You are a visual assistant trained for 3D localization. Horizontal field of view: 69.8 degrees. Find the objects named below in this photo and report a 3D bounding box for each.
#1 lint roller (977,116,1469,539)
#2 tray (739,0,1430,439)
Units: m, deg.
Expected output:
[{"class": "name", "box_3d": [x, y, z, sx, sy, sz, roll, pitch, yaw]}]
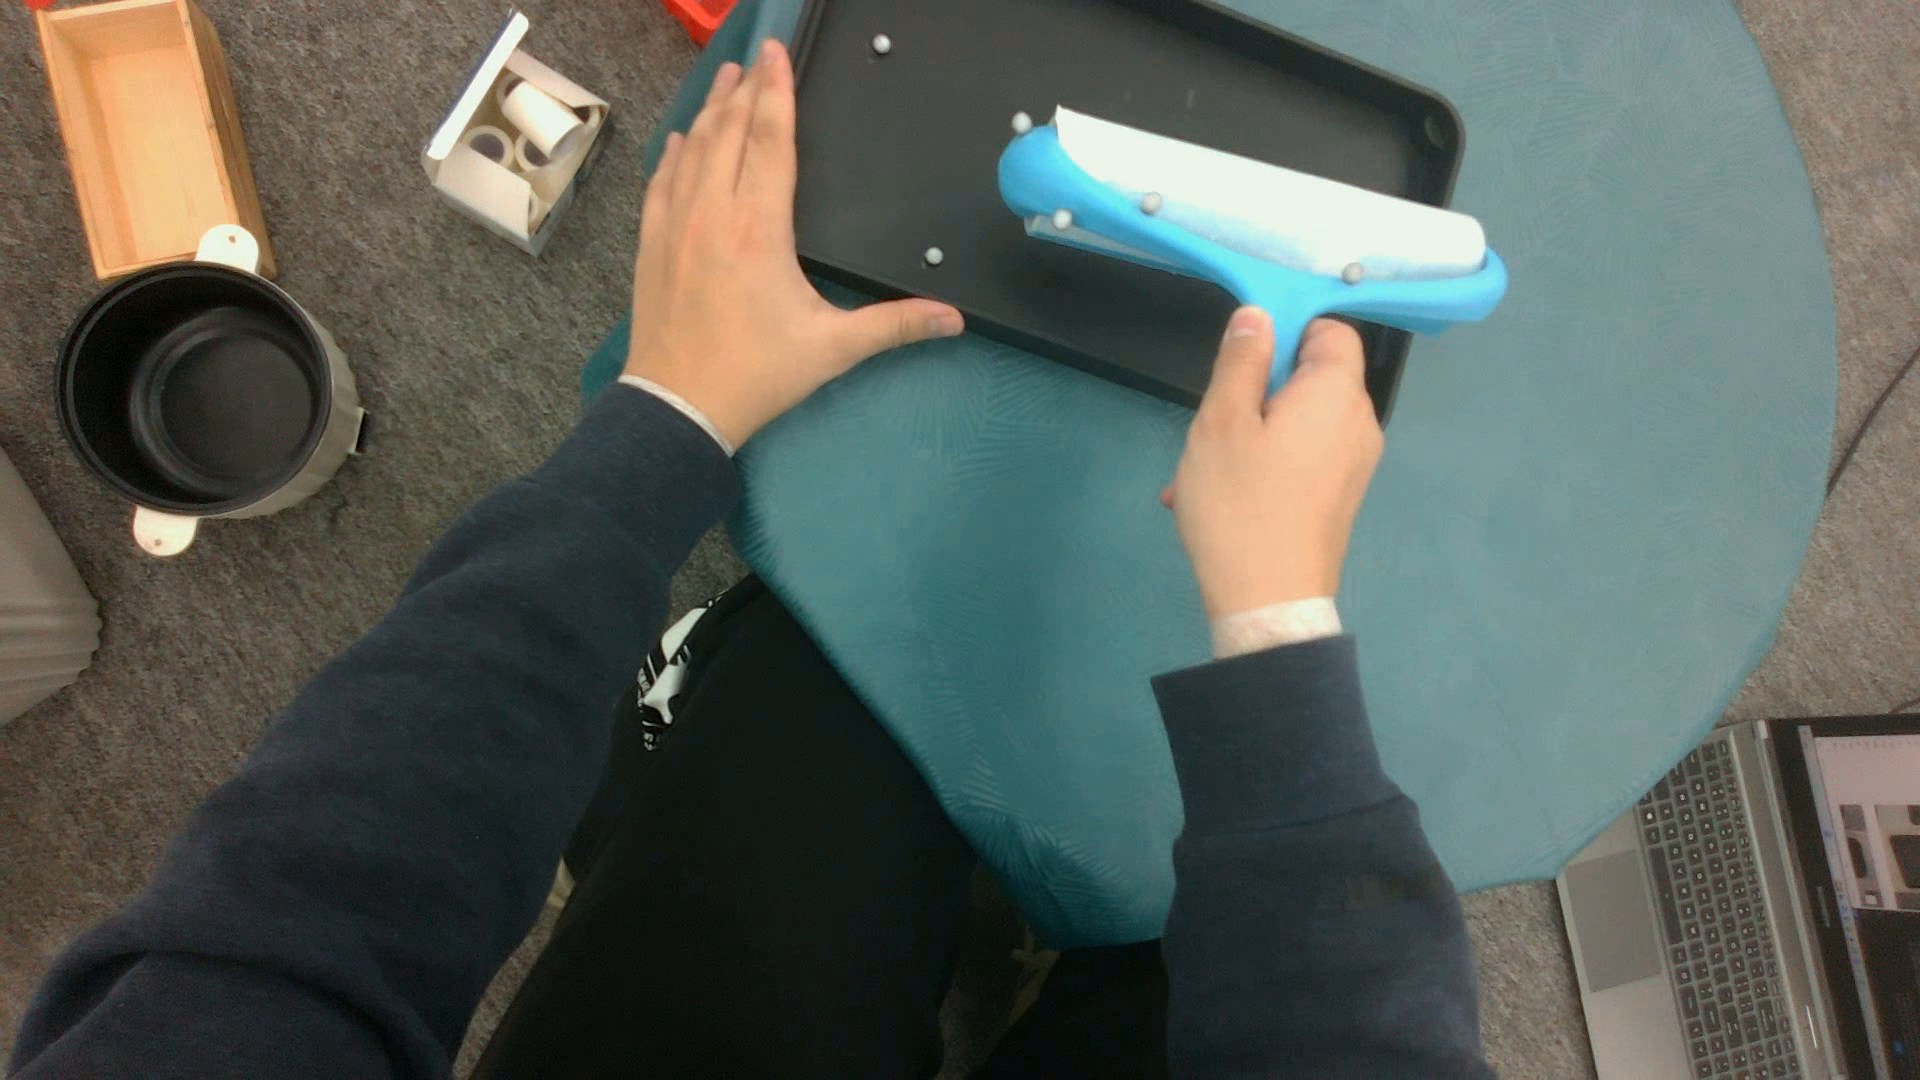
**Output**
[{"class": "lint roller", "box_3d": [0.117, -0.092, 0.591, 0.229, 0.067, 0.181, 10, 59, -12]}, {"class": "tray", "box_3d": [0.066, -0.172, 0.670, 0.318, 0.037, 0.184, 15, 83, -10]}]
